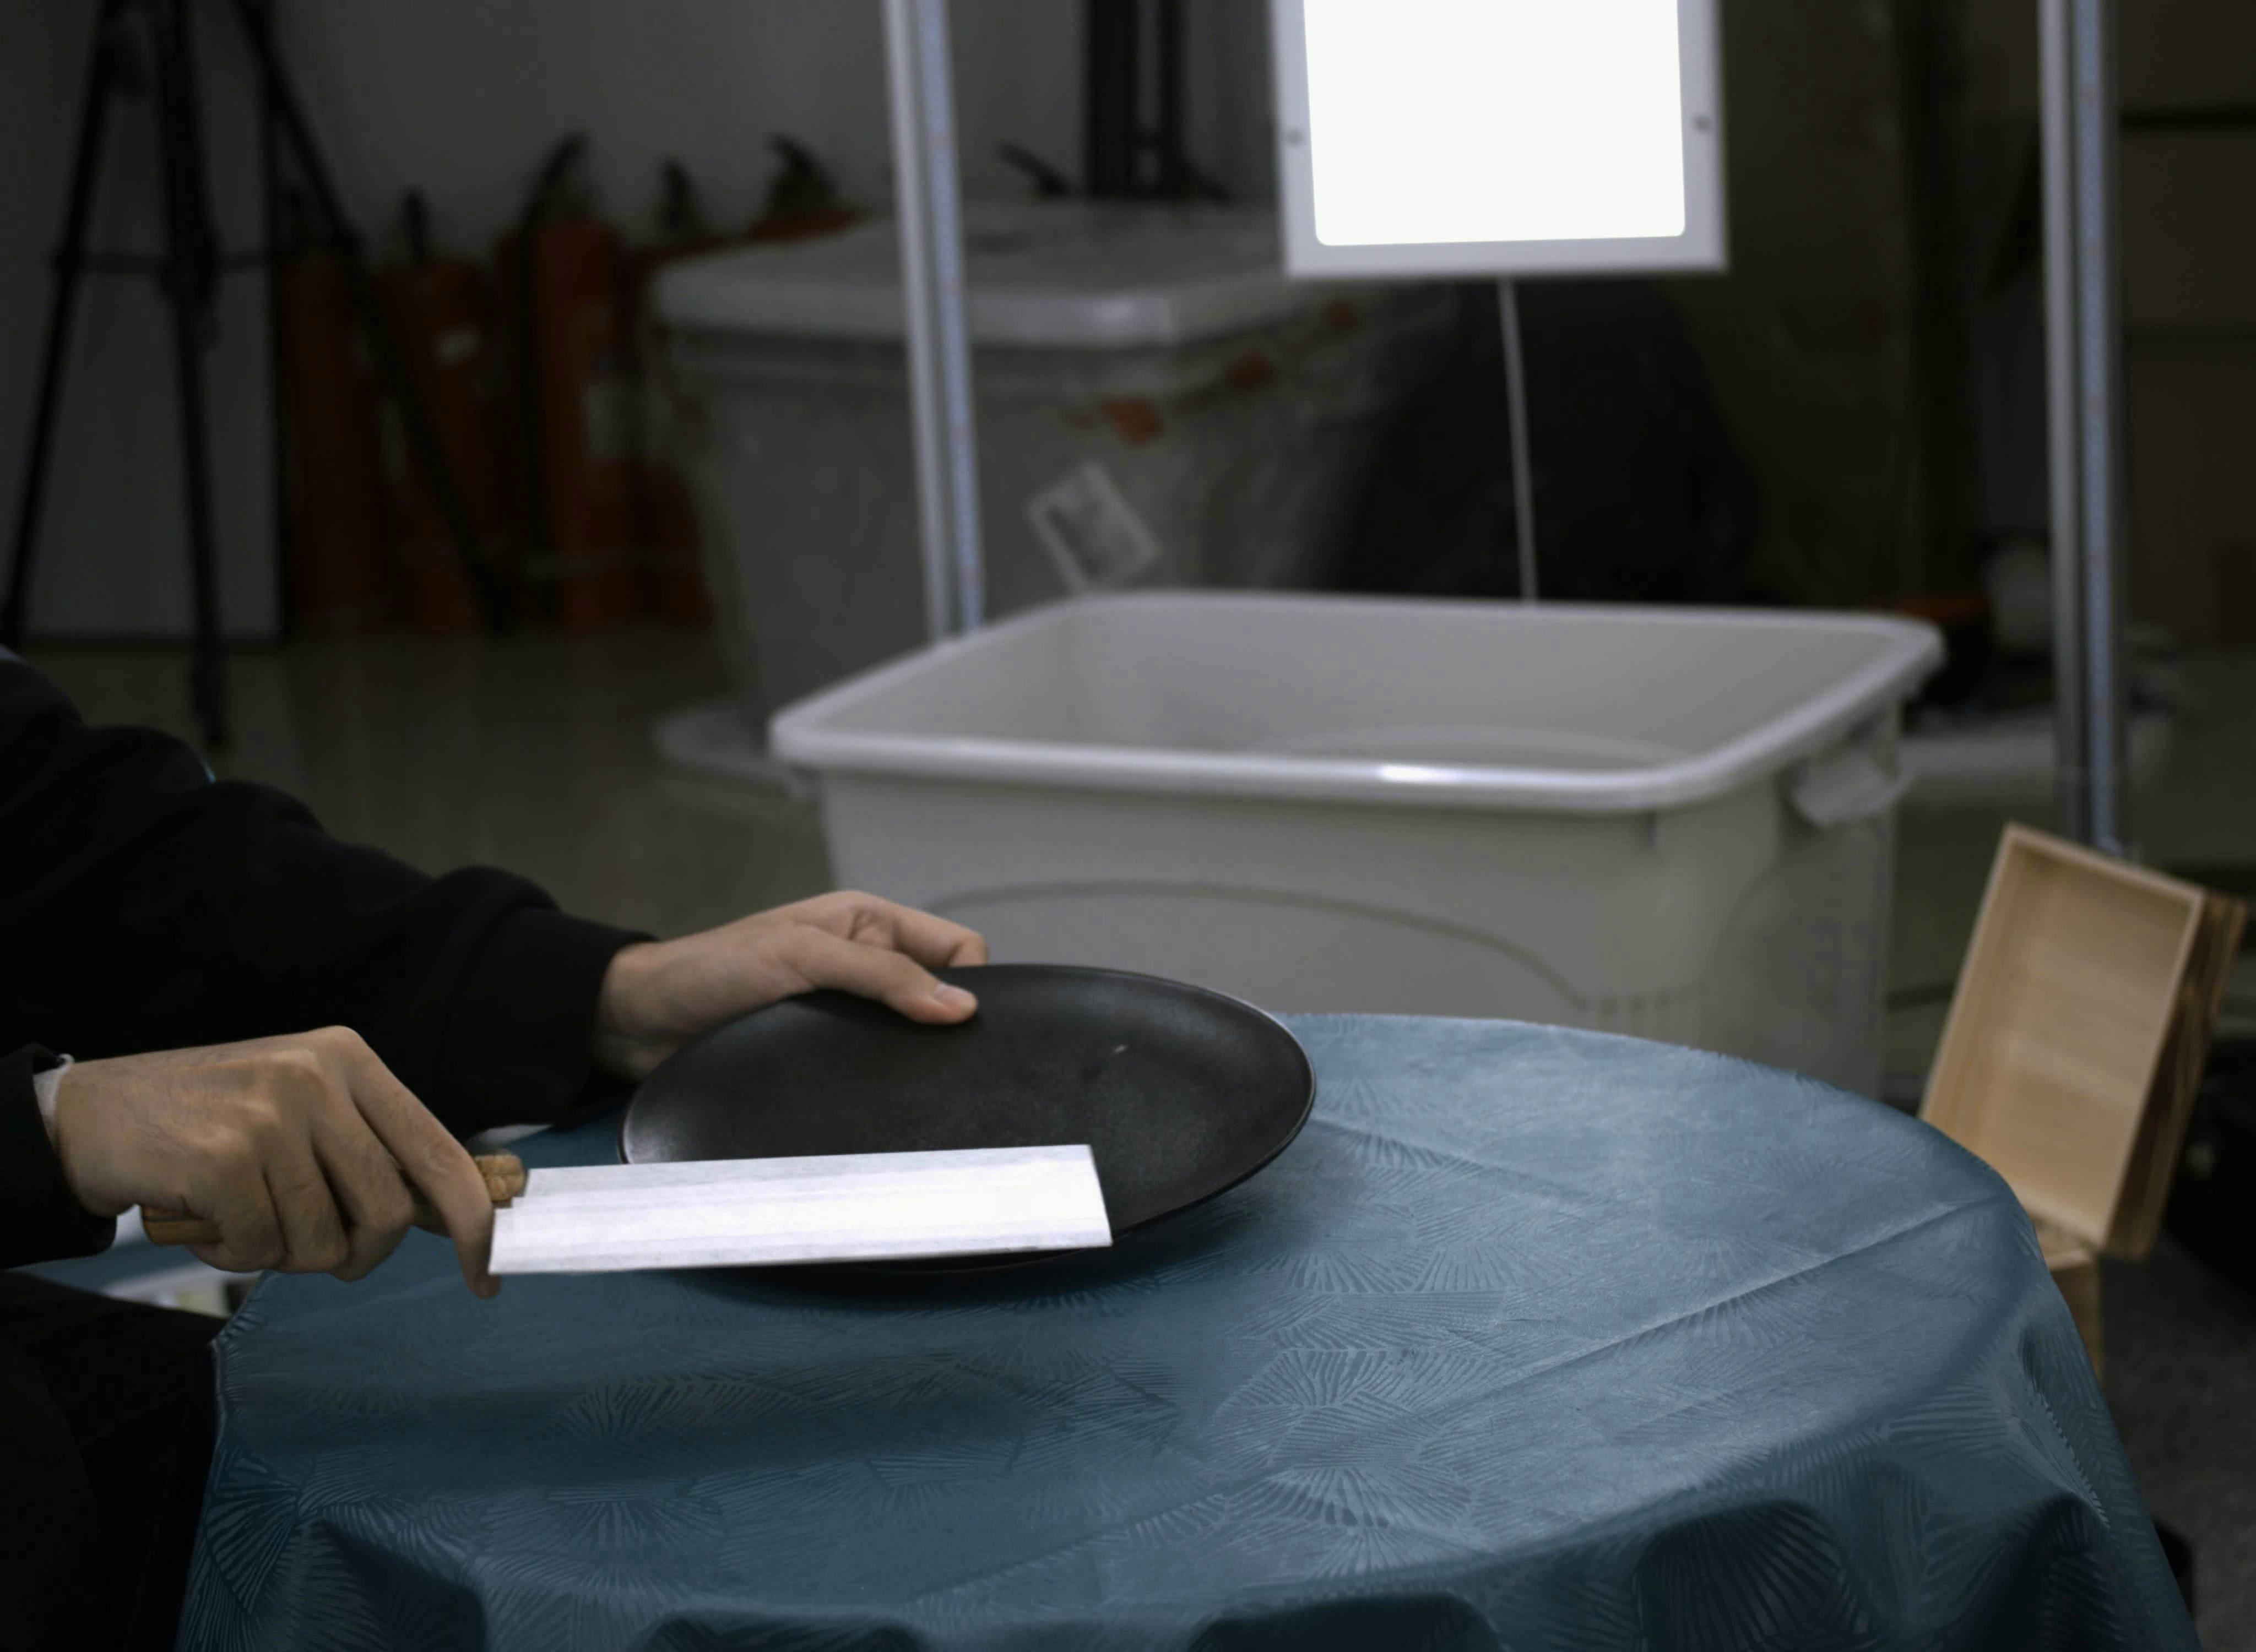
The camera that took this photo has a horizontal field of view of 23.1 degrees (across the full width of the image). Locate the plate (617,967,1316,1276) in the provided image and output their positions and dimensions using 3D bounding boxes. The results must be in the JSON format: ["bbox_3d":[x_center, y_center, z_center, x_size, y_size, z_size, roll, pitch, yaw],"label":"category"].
[{"bbox_3d":[-0.055,0.105,1.906,0.244,0.023,0.244,-5,21,1],"label":"plate"}]

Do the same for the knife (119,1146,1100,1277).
[{"bbox_3d":[-0.162,0.120,1.713,0.304,0.021,0.093,-2,16,-2],"label":"knife"}]
